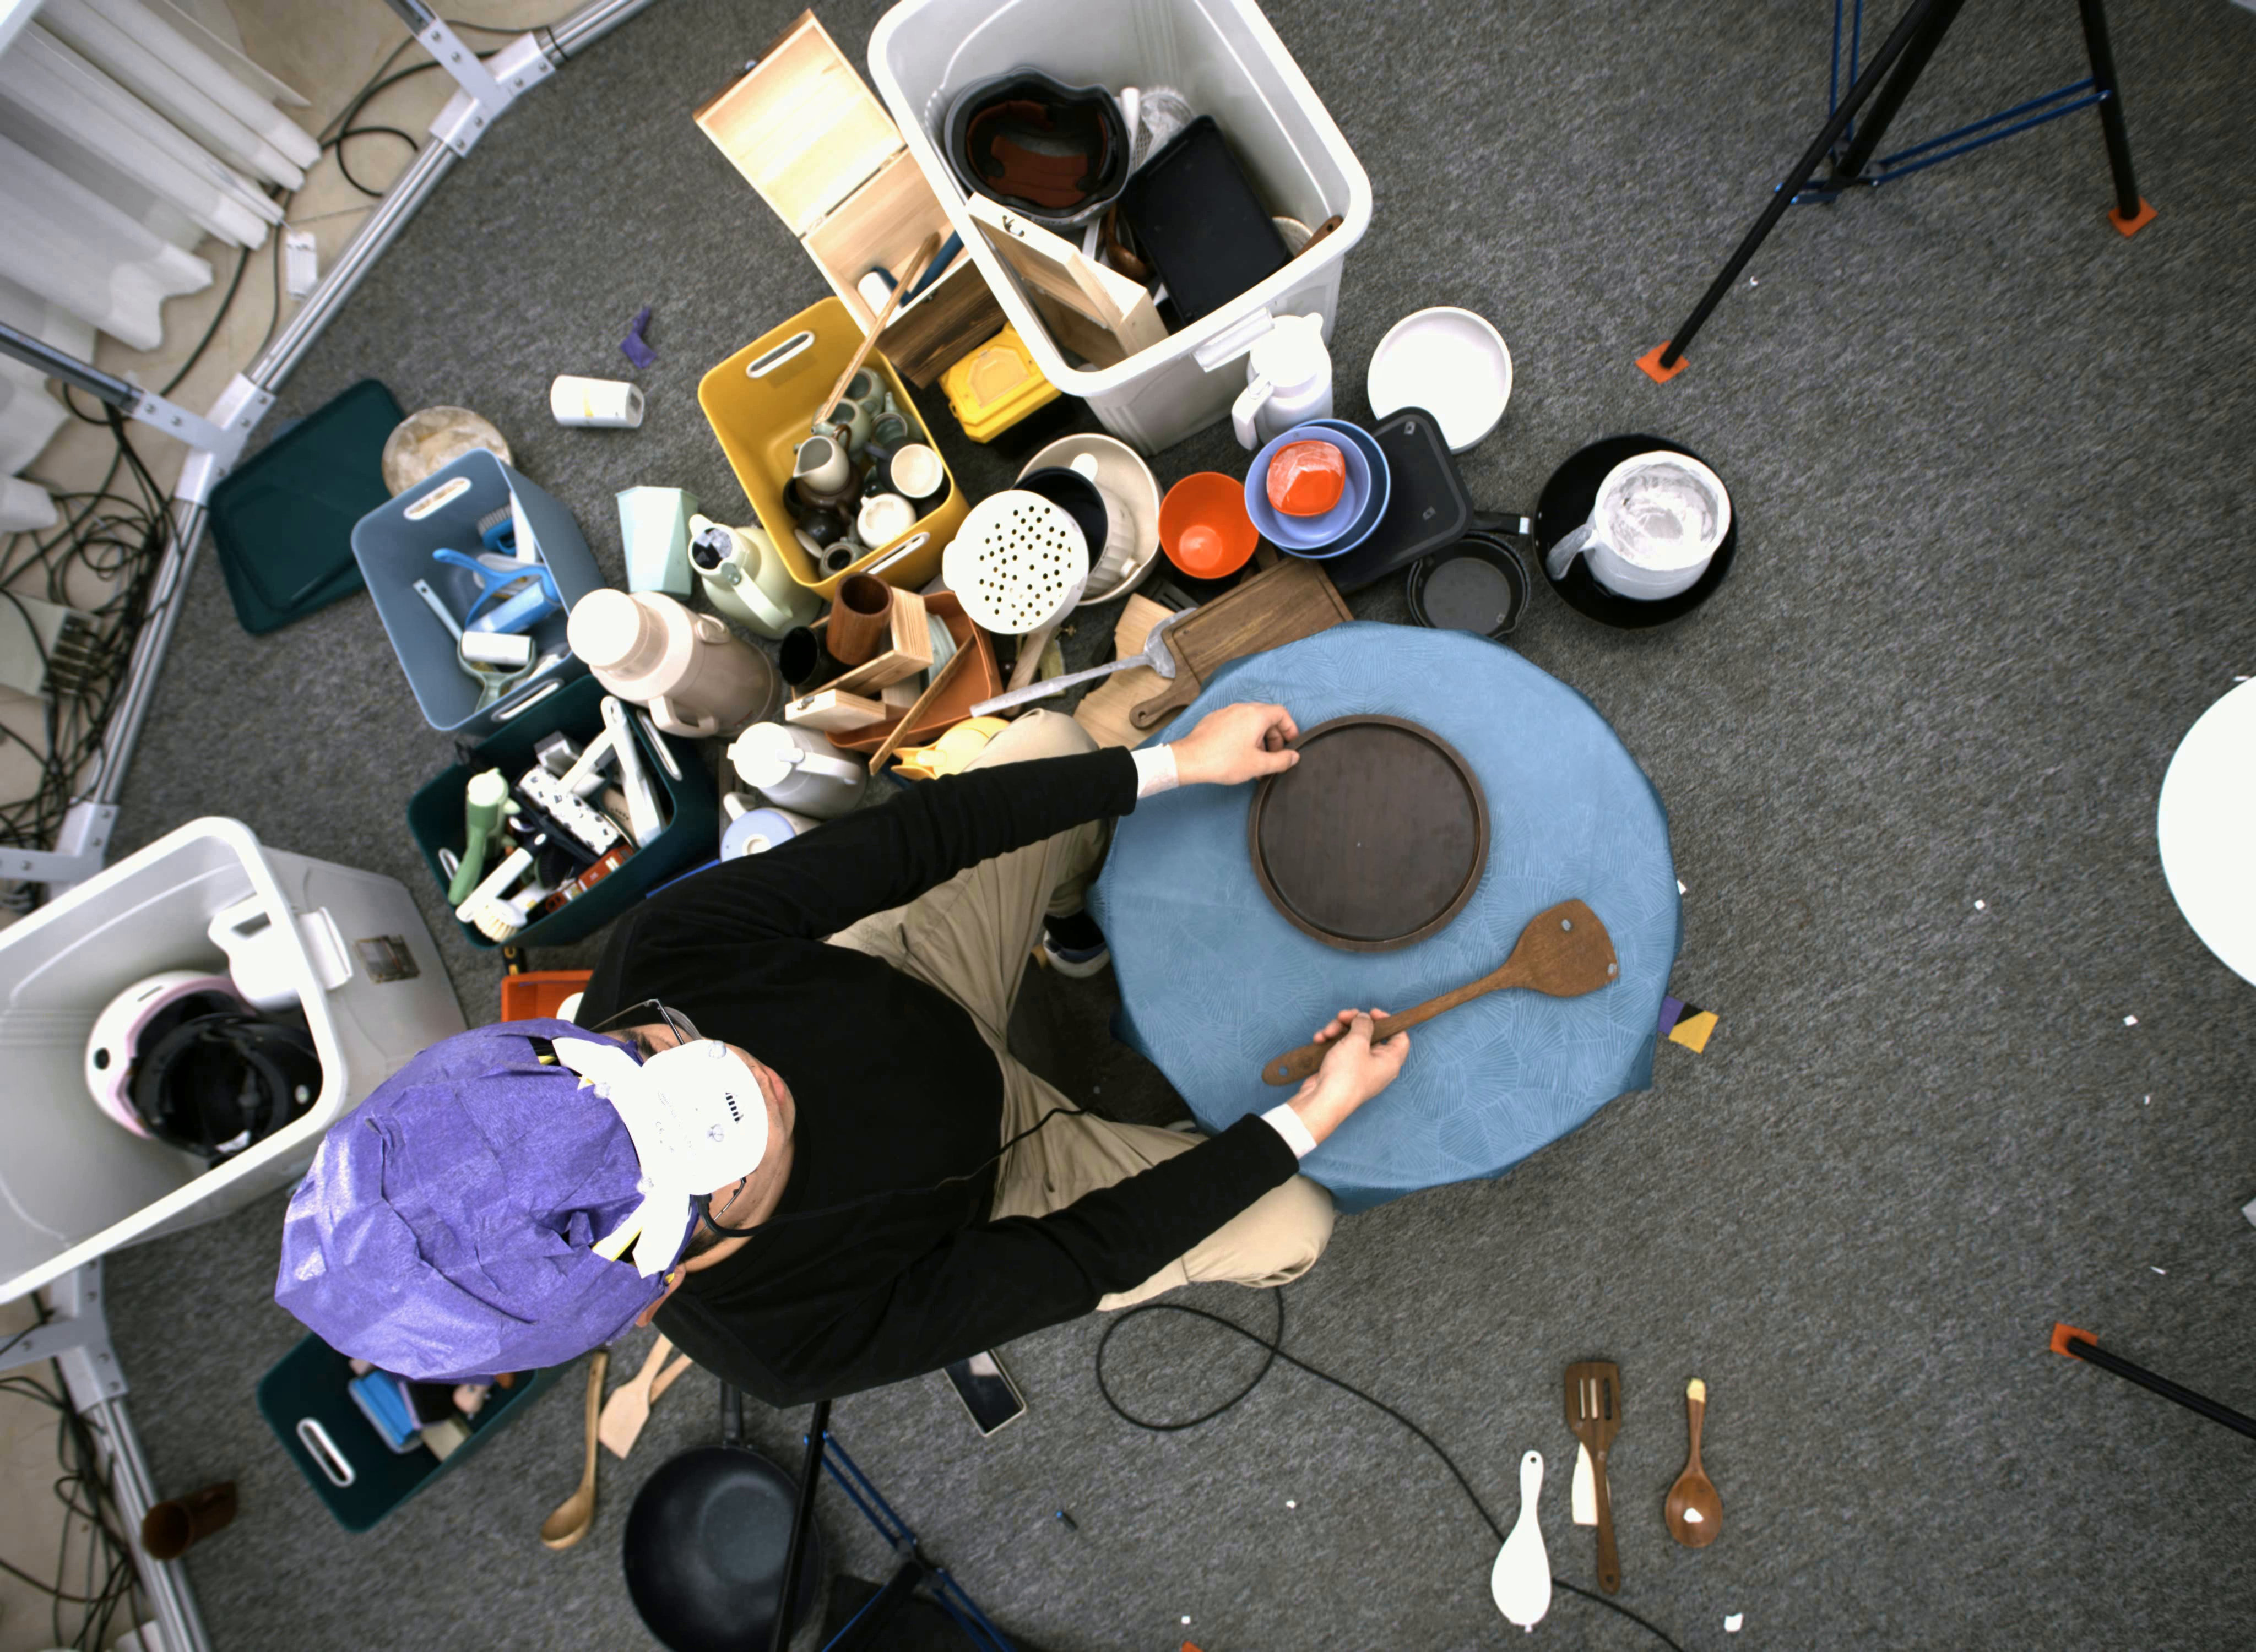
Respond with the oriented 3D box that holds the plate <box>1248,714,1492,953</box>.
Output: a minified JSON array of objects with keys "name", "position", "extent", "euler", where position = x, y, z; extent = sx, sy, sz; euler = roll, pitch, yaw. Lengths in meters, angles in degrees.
[{"name":"plate","position":[0.254,0.006,1.455],"extent":[0.256,0.029,0.254],"euler":[-1,88,10]}]

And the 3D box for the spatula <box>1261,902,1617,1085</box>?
[{"name":"spatula","position":[0.315,0.183,1.410],"extent":[0.386,0.016,0.095],"euler":[-21,80,-2]}]
